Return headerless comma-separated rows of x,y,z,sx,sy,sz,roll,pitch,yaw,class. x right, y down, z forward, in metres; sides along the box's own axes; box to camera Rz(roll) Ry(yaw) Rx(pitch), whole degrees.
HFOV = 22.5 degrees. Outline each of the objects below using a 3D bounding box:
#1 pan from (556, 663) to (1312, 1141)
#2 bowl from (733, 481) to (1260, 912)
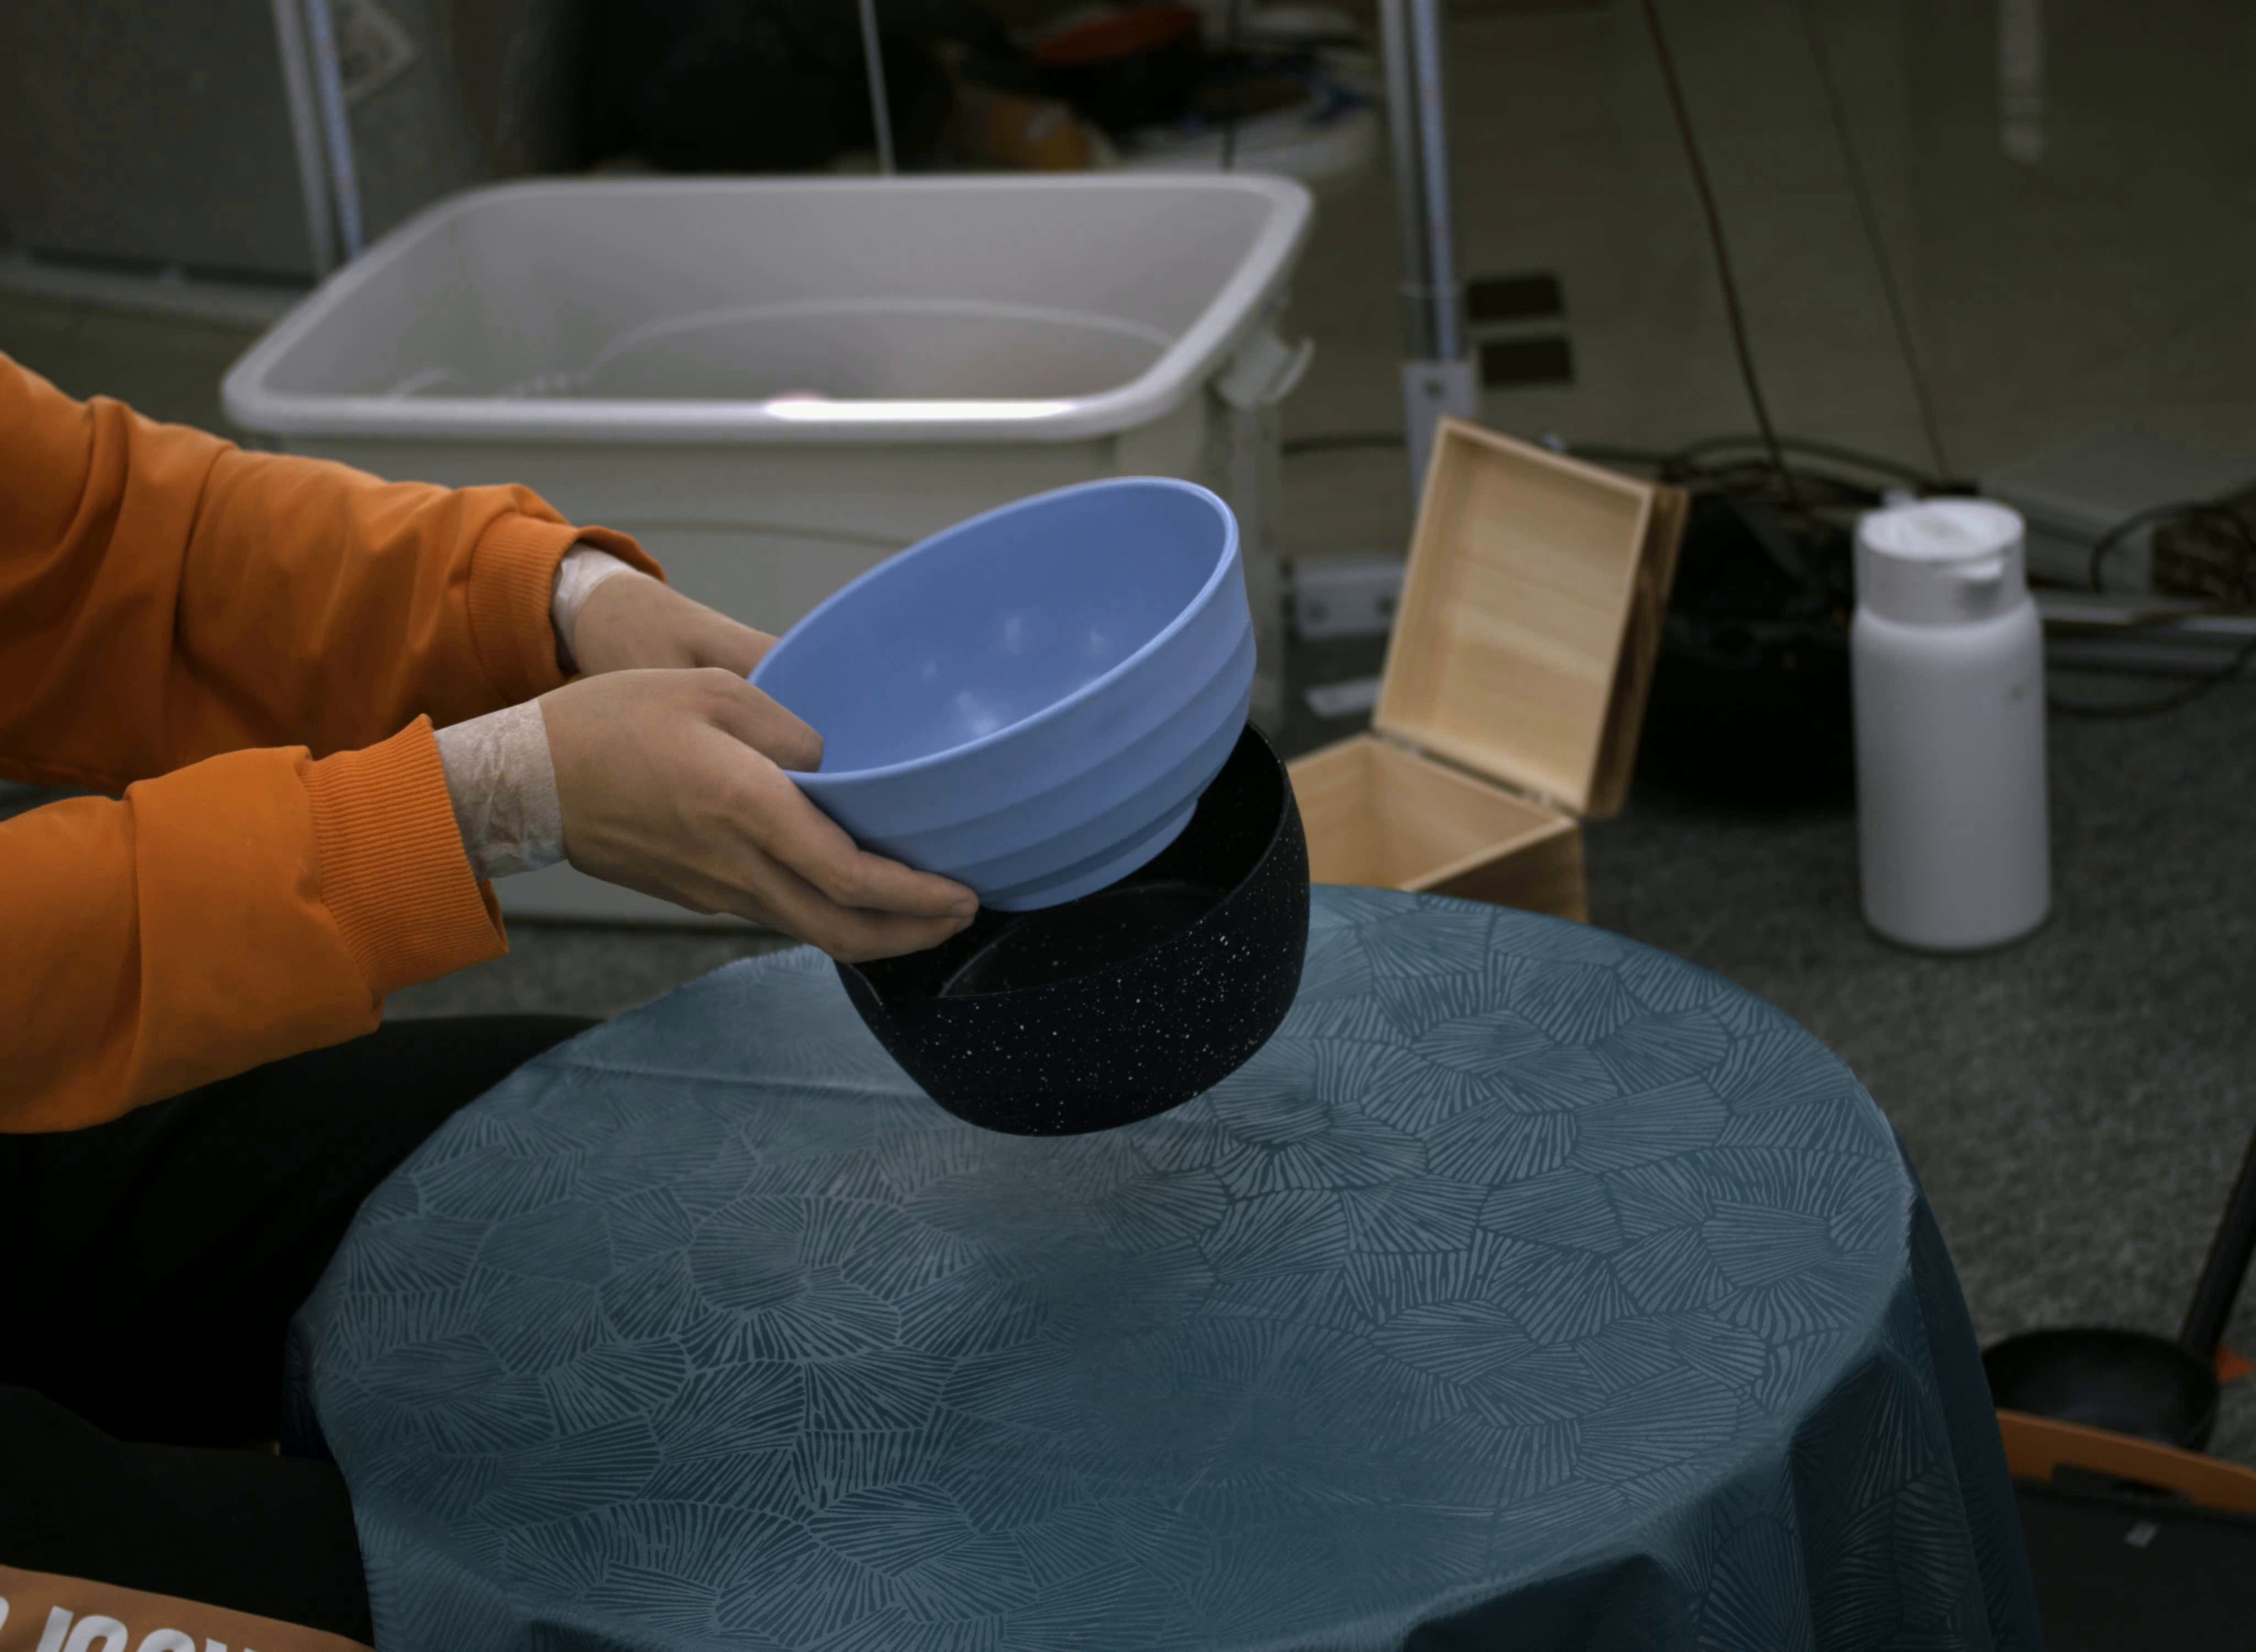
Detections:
-0.082,0.015,2.165,0.340,0.110,0.205,14,47,37,pan
-0.034,-0.033,2.029,0.196,0.097,0.193,-20,25,10,bowl
